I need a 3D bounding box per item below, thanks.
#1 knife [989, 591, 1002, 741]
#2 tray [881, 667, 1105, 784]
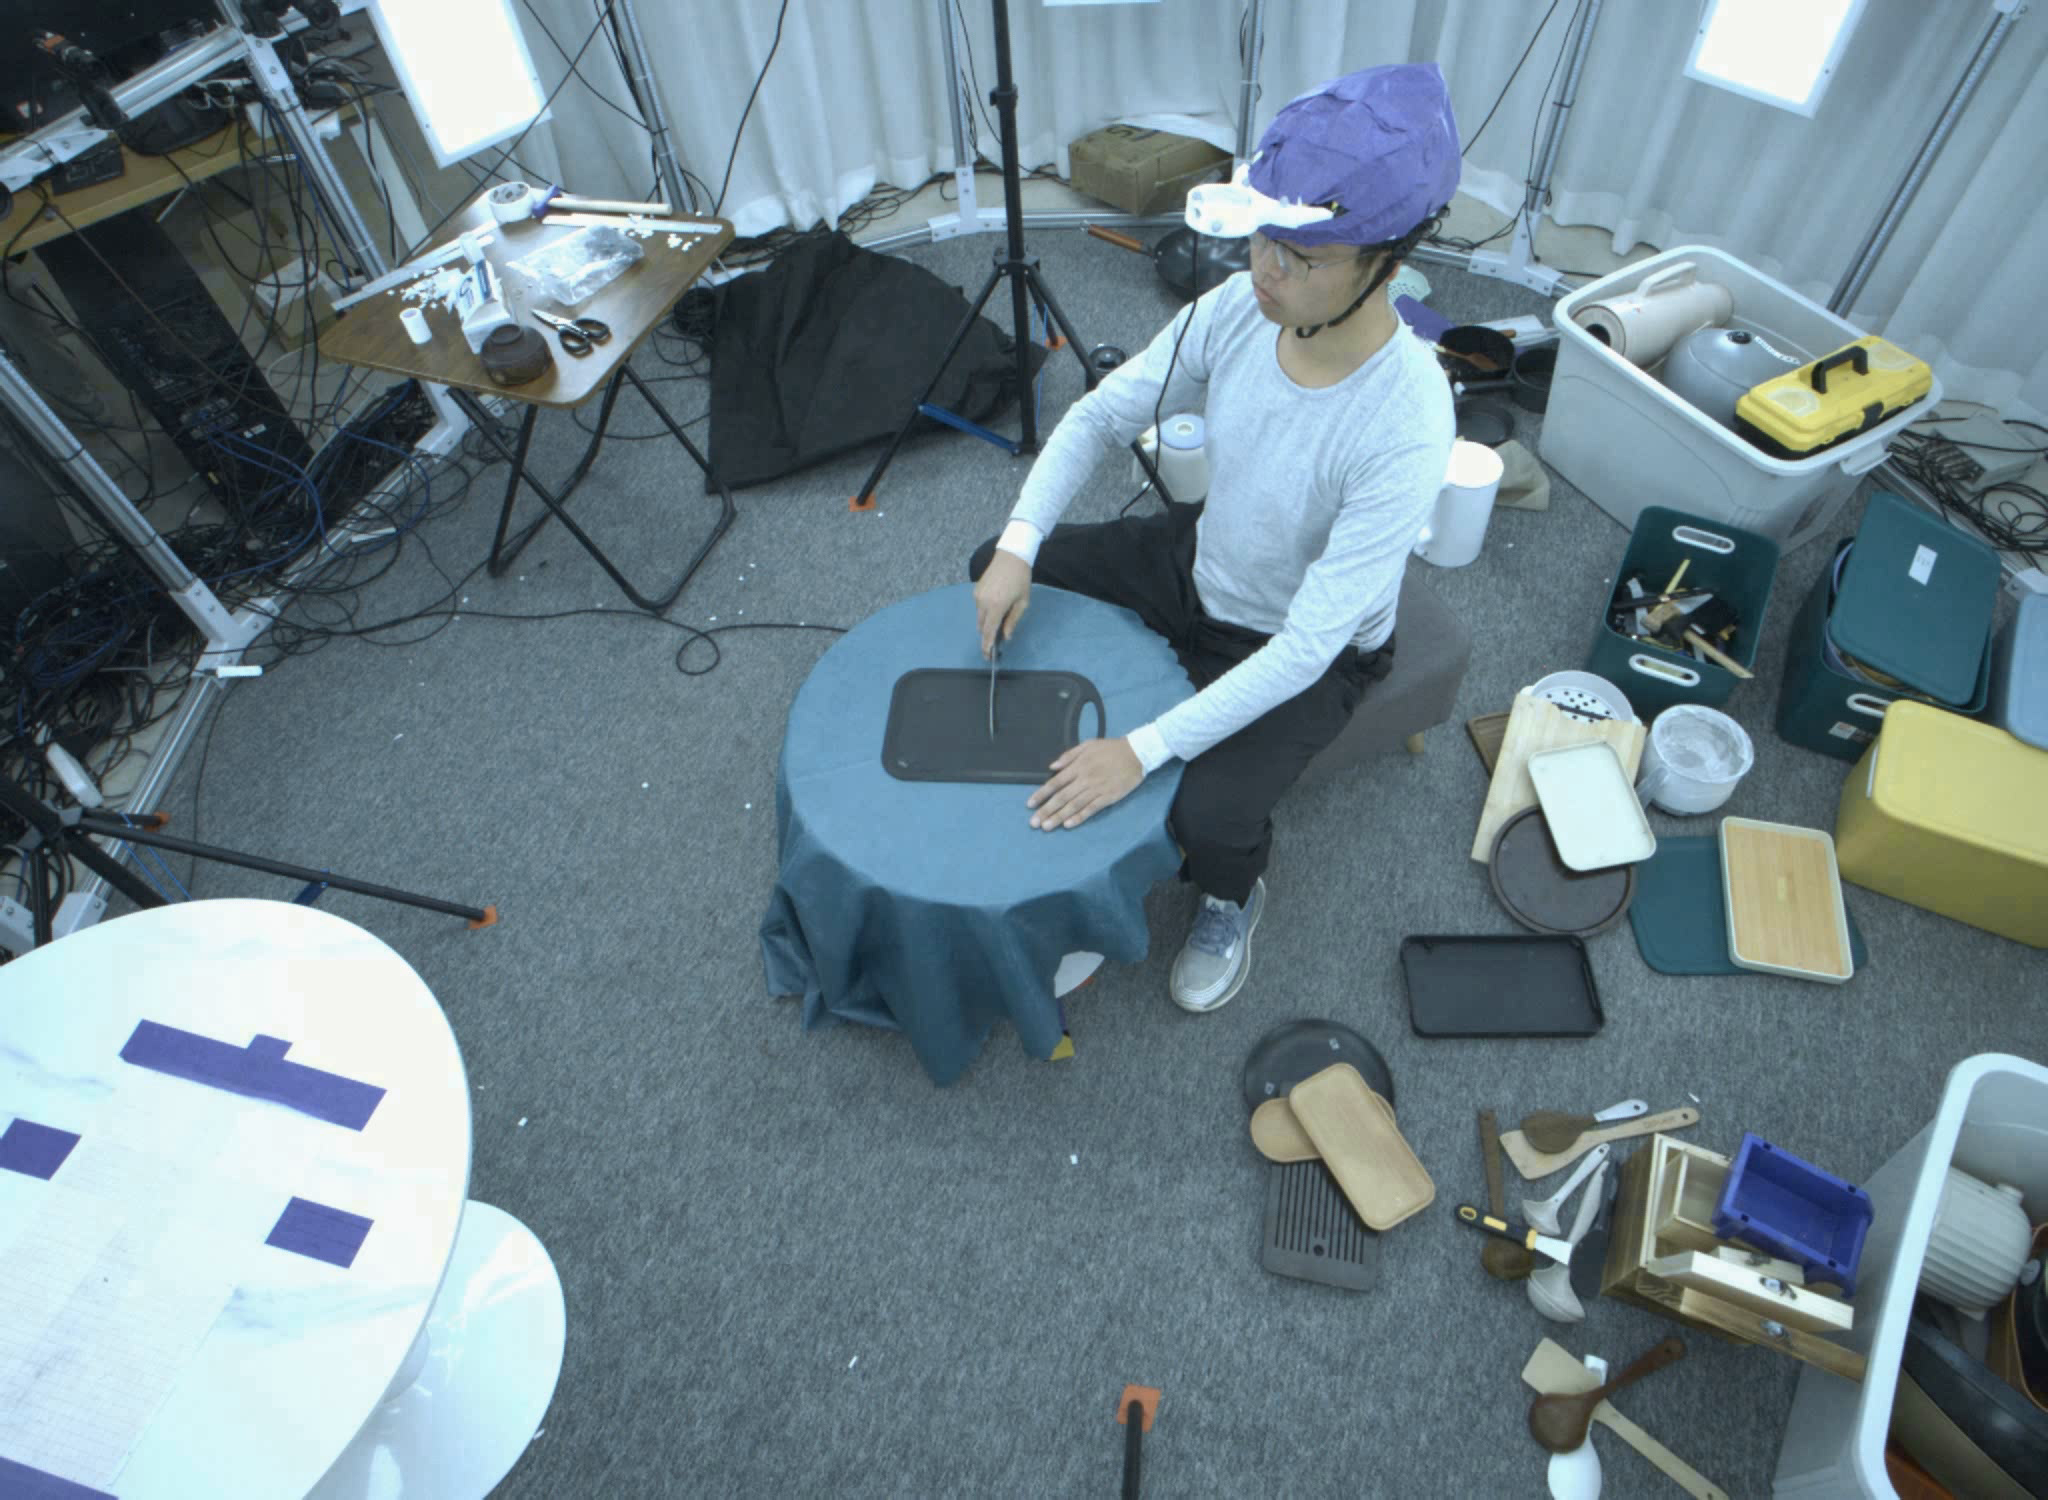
[{"bbox_3d":[-0.044,-0.129,1.835,0.016,0.025,0.237,-3,75,16],"label":"knife"},{"bbox_3d":[-0.043,-0.041,1.822,0.325,0.010,0.209,2,55,3],"label":"tray"}]
